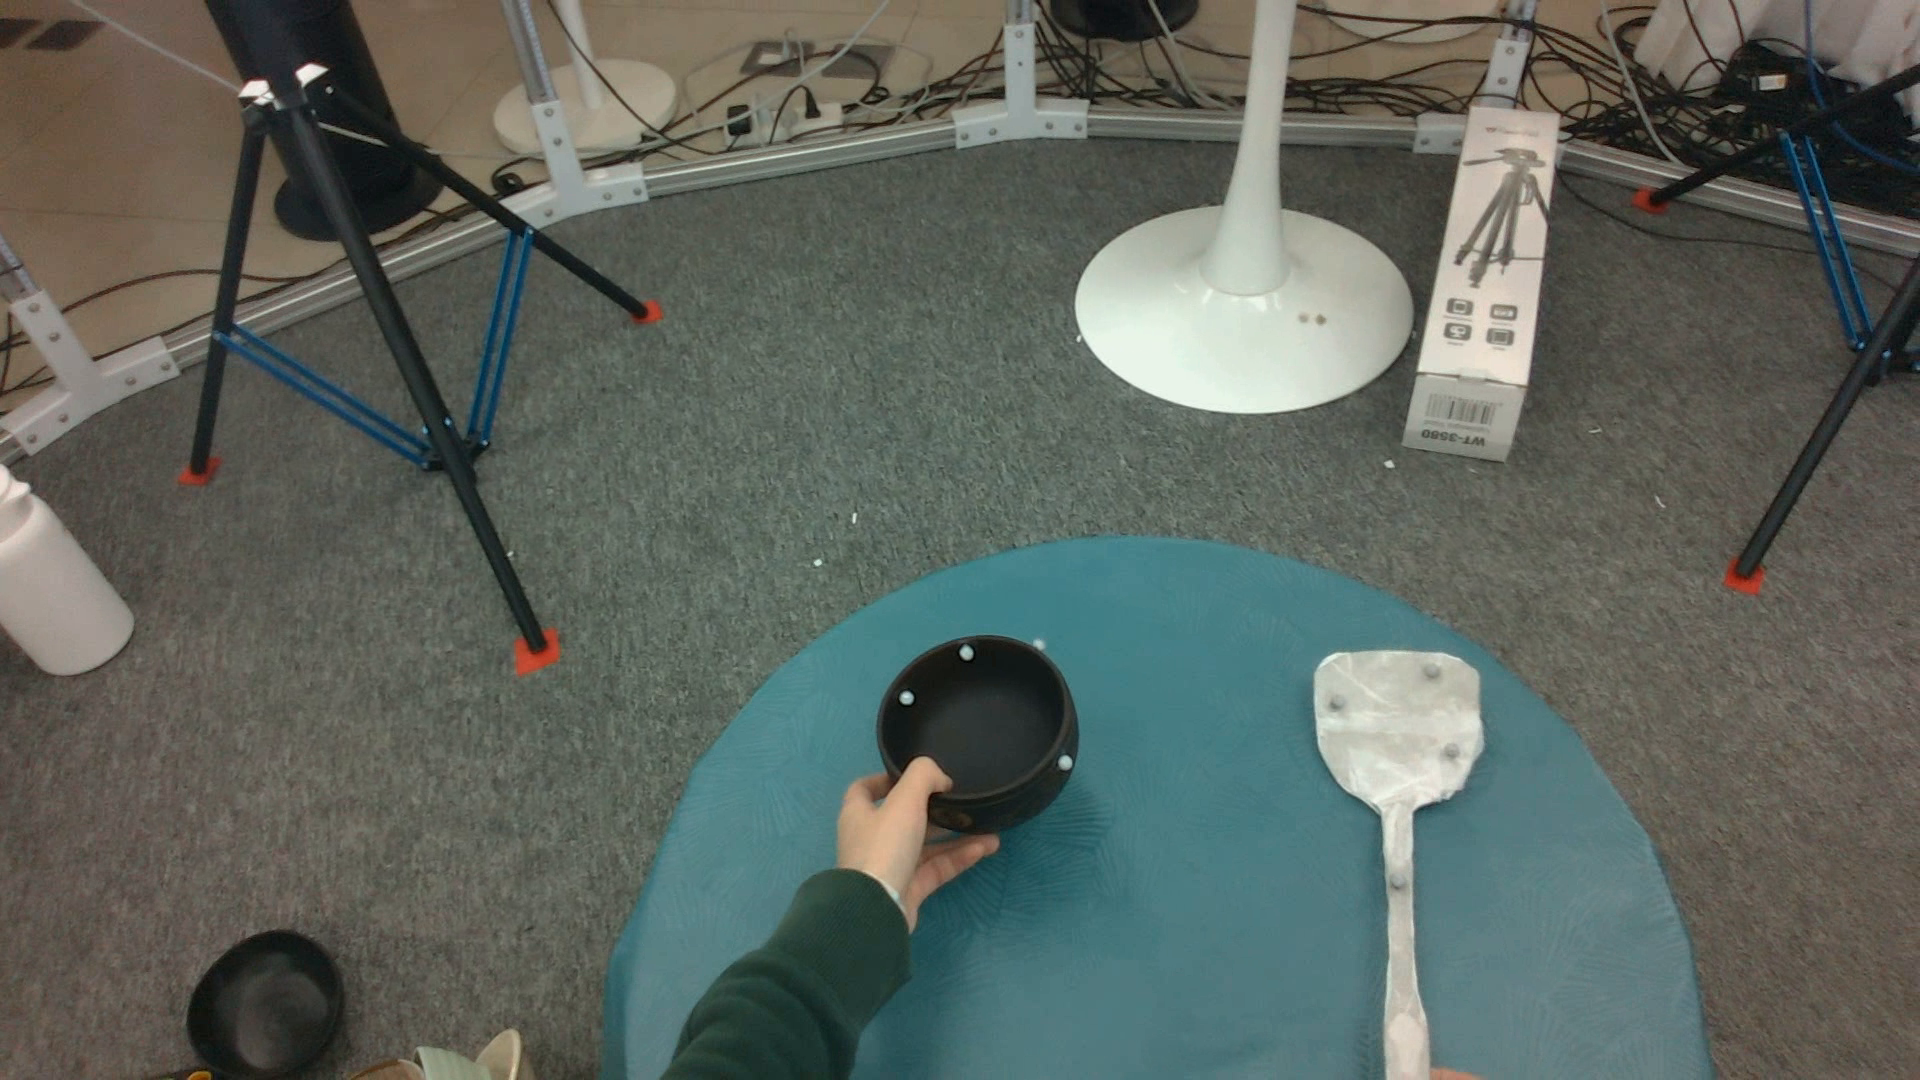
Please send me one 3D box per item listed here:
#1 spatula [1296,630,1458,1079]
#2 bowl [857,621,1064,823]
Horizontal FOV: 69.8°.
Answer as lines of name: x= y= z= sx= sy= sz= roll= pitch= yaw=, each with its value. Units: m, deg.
spatula: x=0.229 y=0.197 z=0.761 sx=0.098 sy=0.044 sz=0.367 roll=2 pitch=43 yaw=15
bowl: x=0.004 y=0.113 z=0.807 sx=0.118 sy=0.069 sz=0.118 roll=-8 pitch=48 yaw=10
